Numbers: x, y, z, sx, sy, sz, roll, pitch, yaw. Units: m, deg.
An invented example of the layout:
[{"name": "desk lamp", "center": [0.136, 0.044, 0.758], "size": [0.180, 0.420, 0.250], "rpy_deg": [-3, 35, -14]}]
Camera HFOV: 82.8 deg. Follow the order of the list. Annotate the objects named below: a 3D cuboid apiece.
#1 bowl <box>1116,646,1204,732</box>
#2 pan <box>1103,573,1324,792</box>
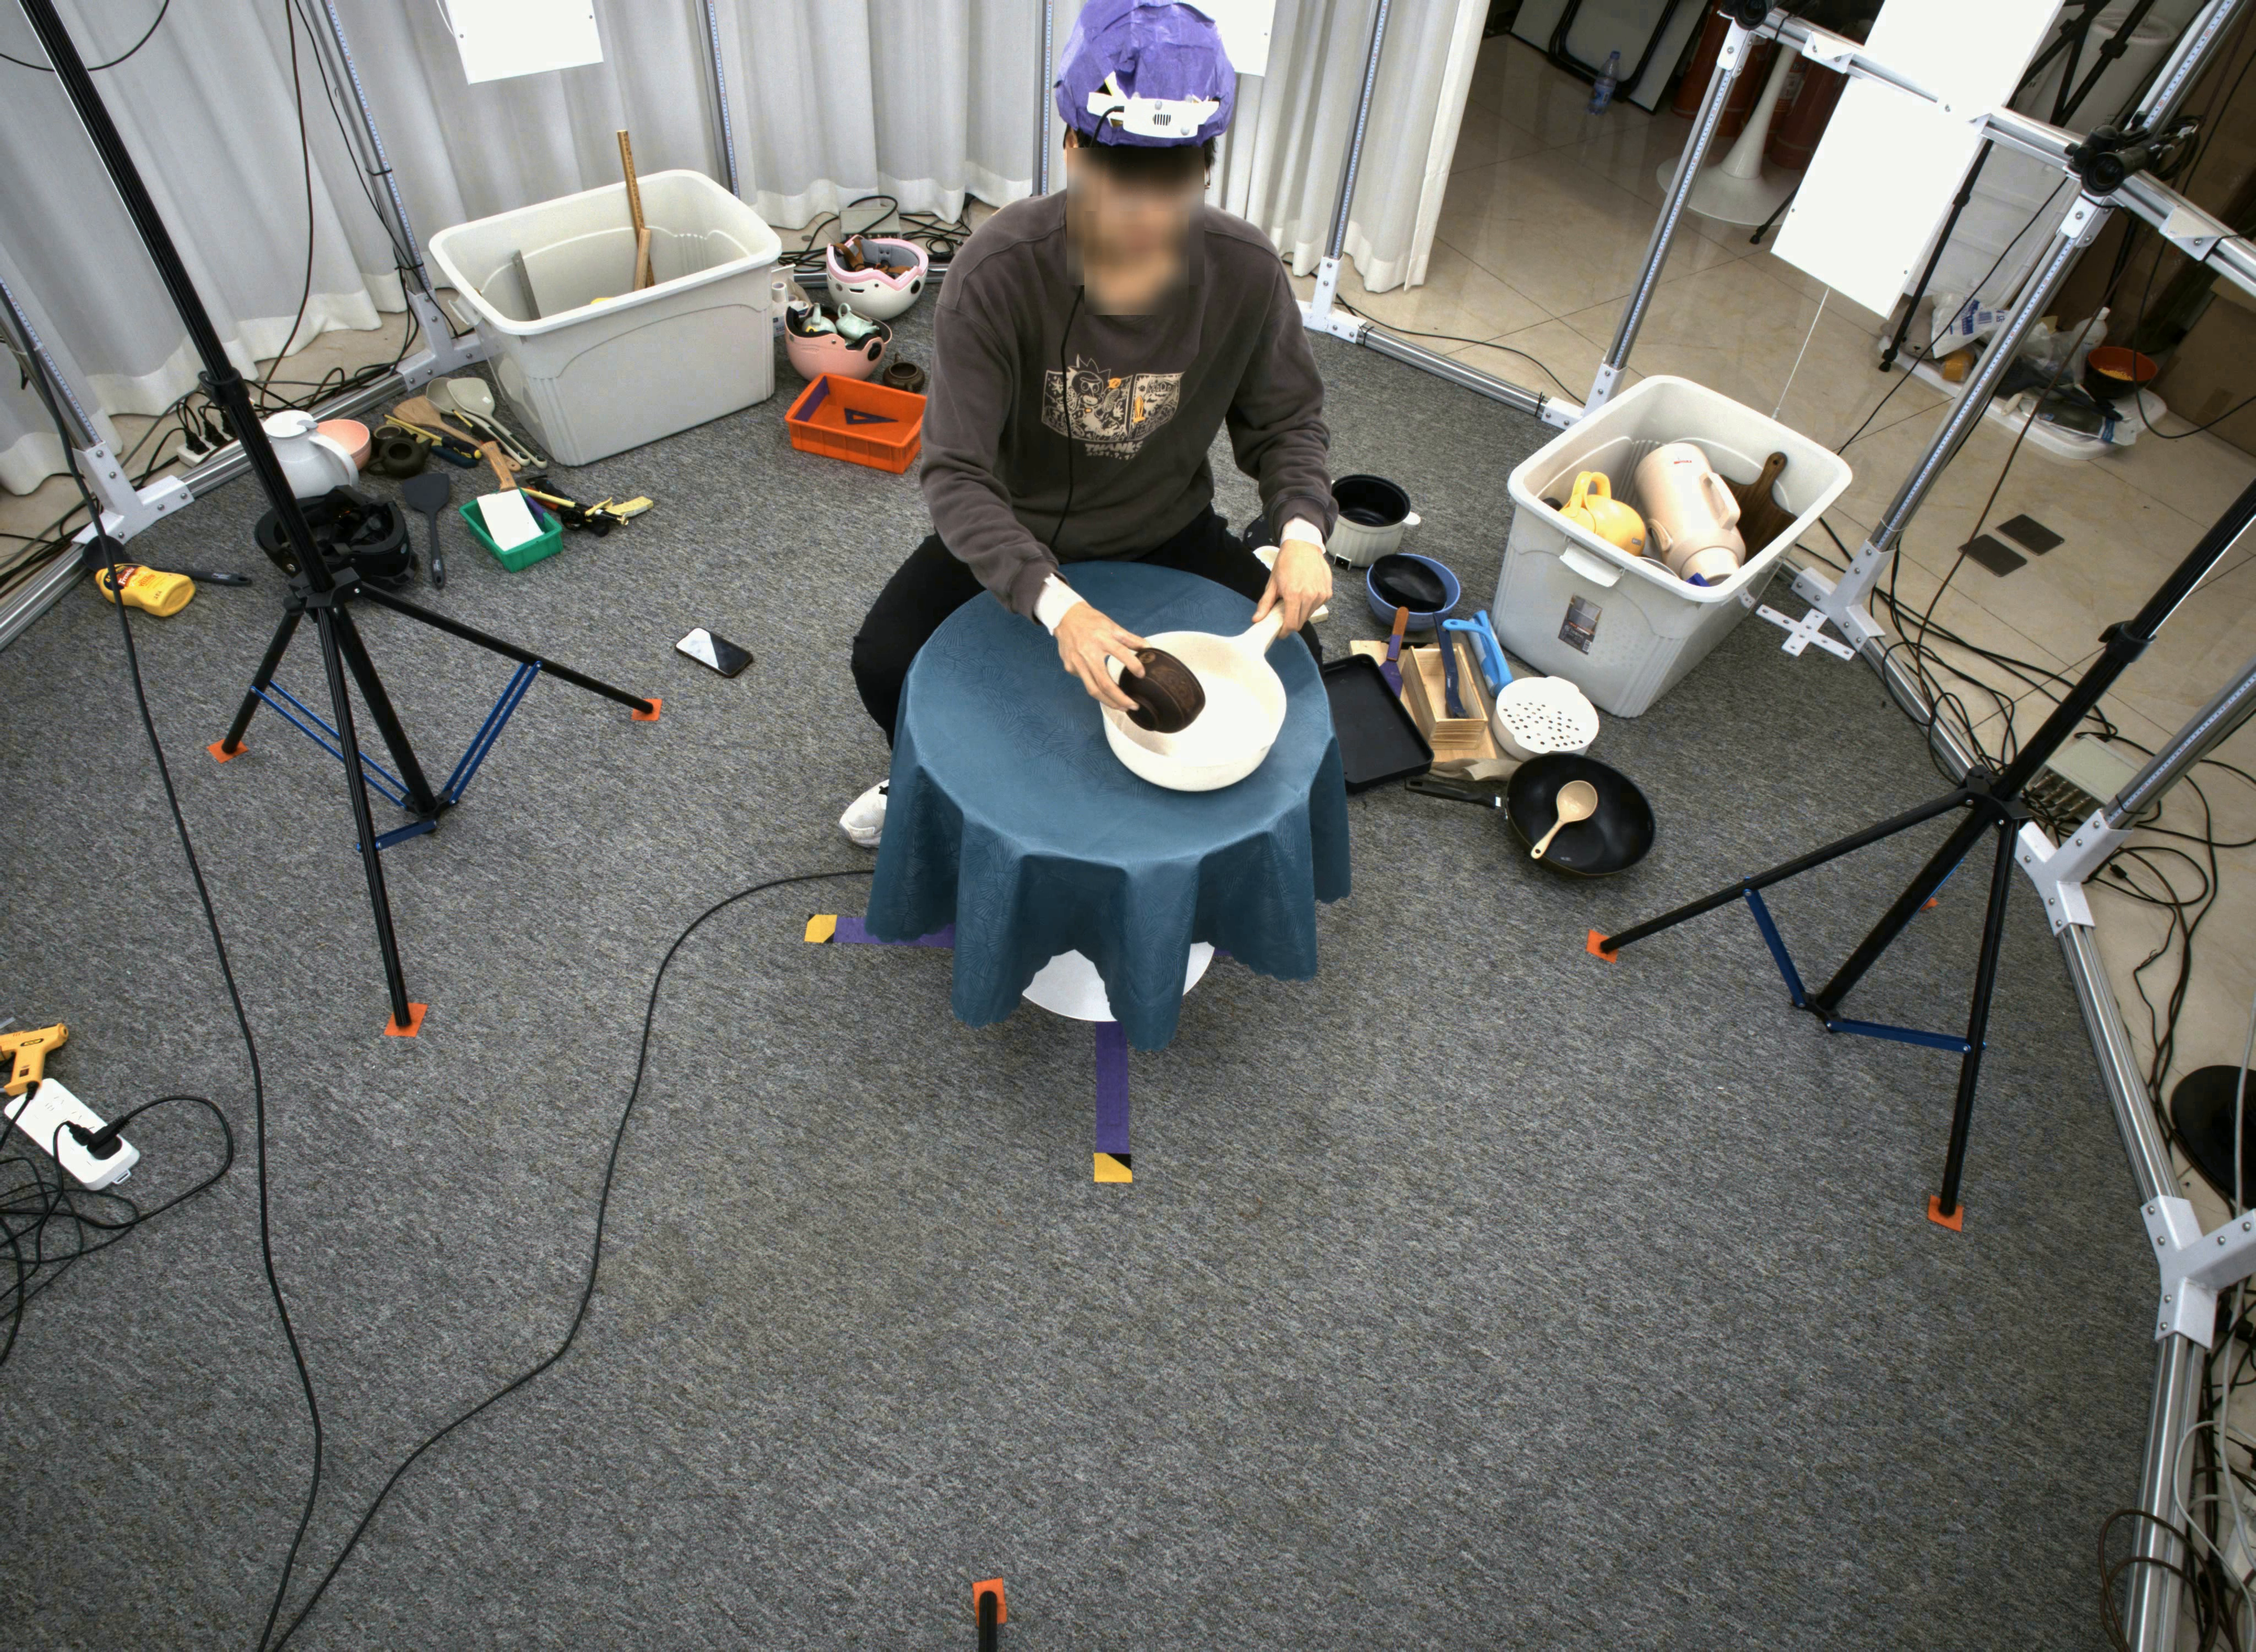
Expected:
[{"name": "bowl", "center": [0.034, -0.170, 1.677], "size": [0.119, 0.115, 0.070], "rpy_deg": [31, 66, 21]}, {"name": "pan", "center": [0.147, -0.207, 1.791], "size": [0.266, 0.099, 0.440], "rpy_deg": [31, 54, 24]}]
